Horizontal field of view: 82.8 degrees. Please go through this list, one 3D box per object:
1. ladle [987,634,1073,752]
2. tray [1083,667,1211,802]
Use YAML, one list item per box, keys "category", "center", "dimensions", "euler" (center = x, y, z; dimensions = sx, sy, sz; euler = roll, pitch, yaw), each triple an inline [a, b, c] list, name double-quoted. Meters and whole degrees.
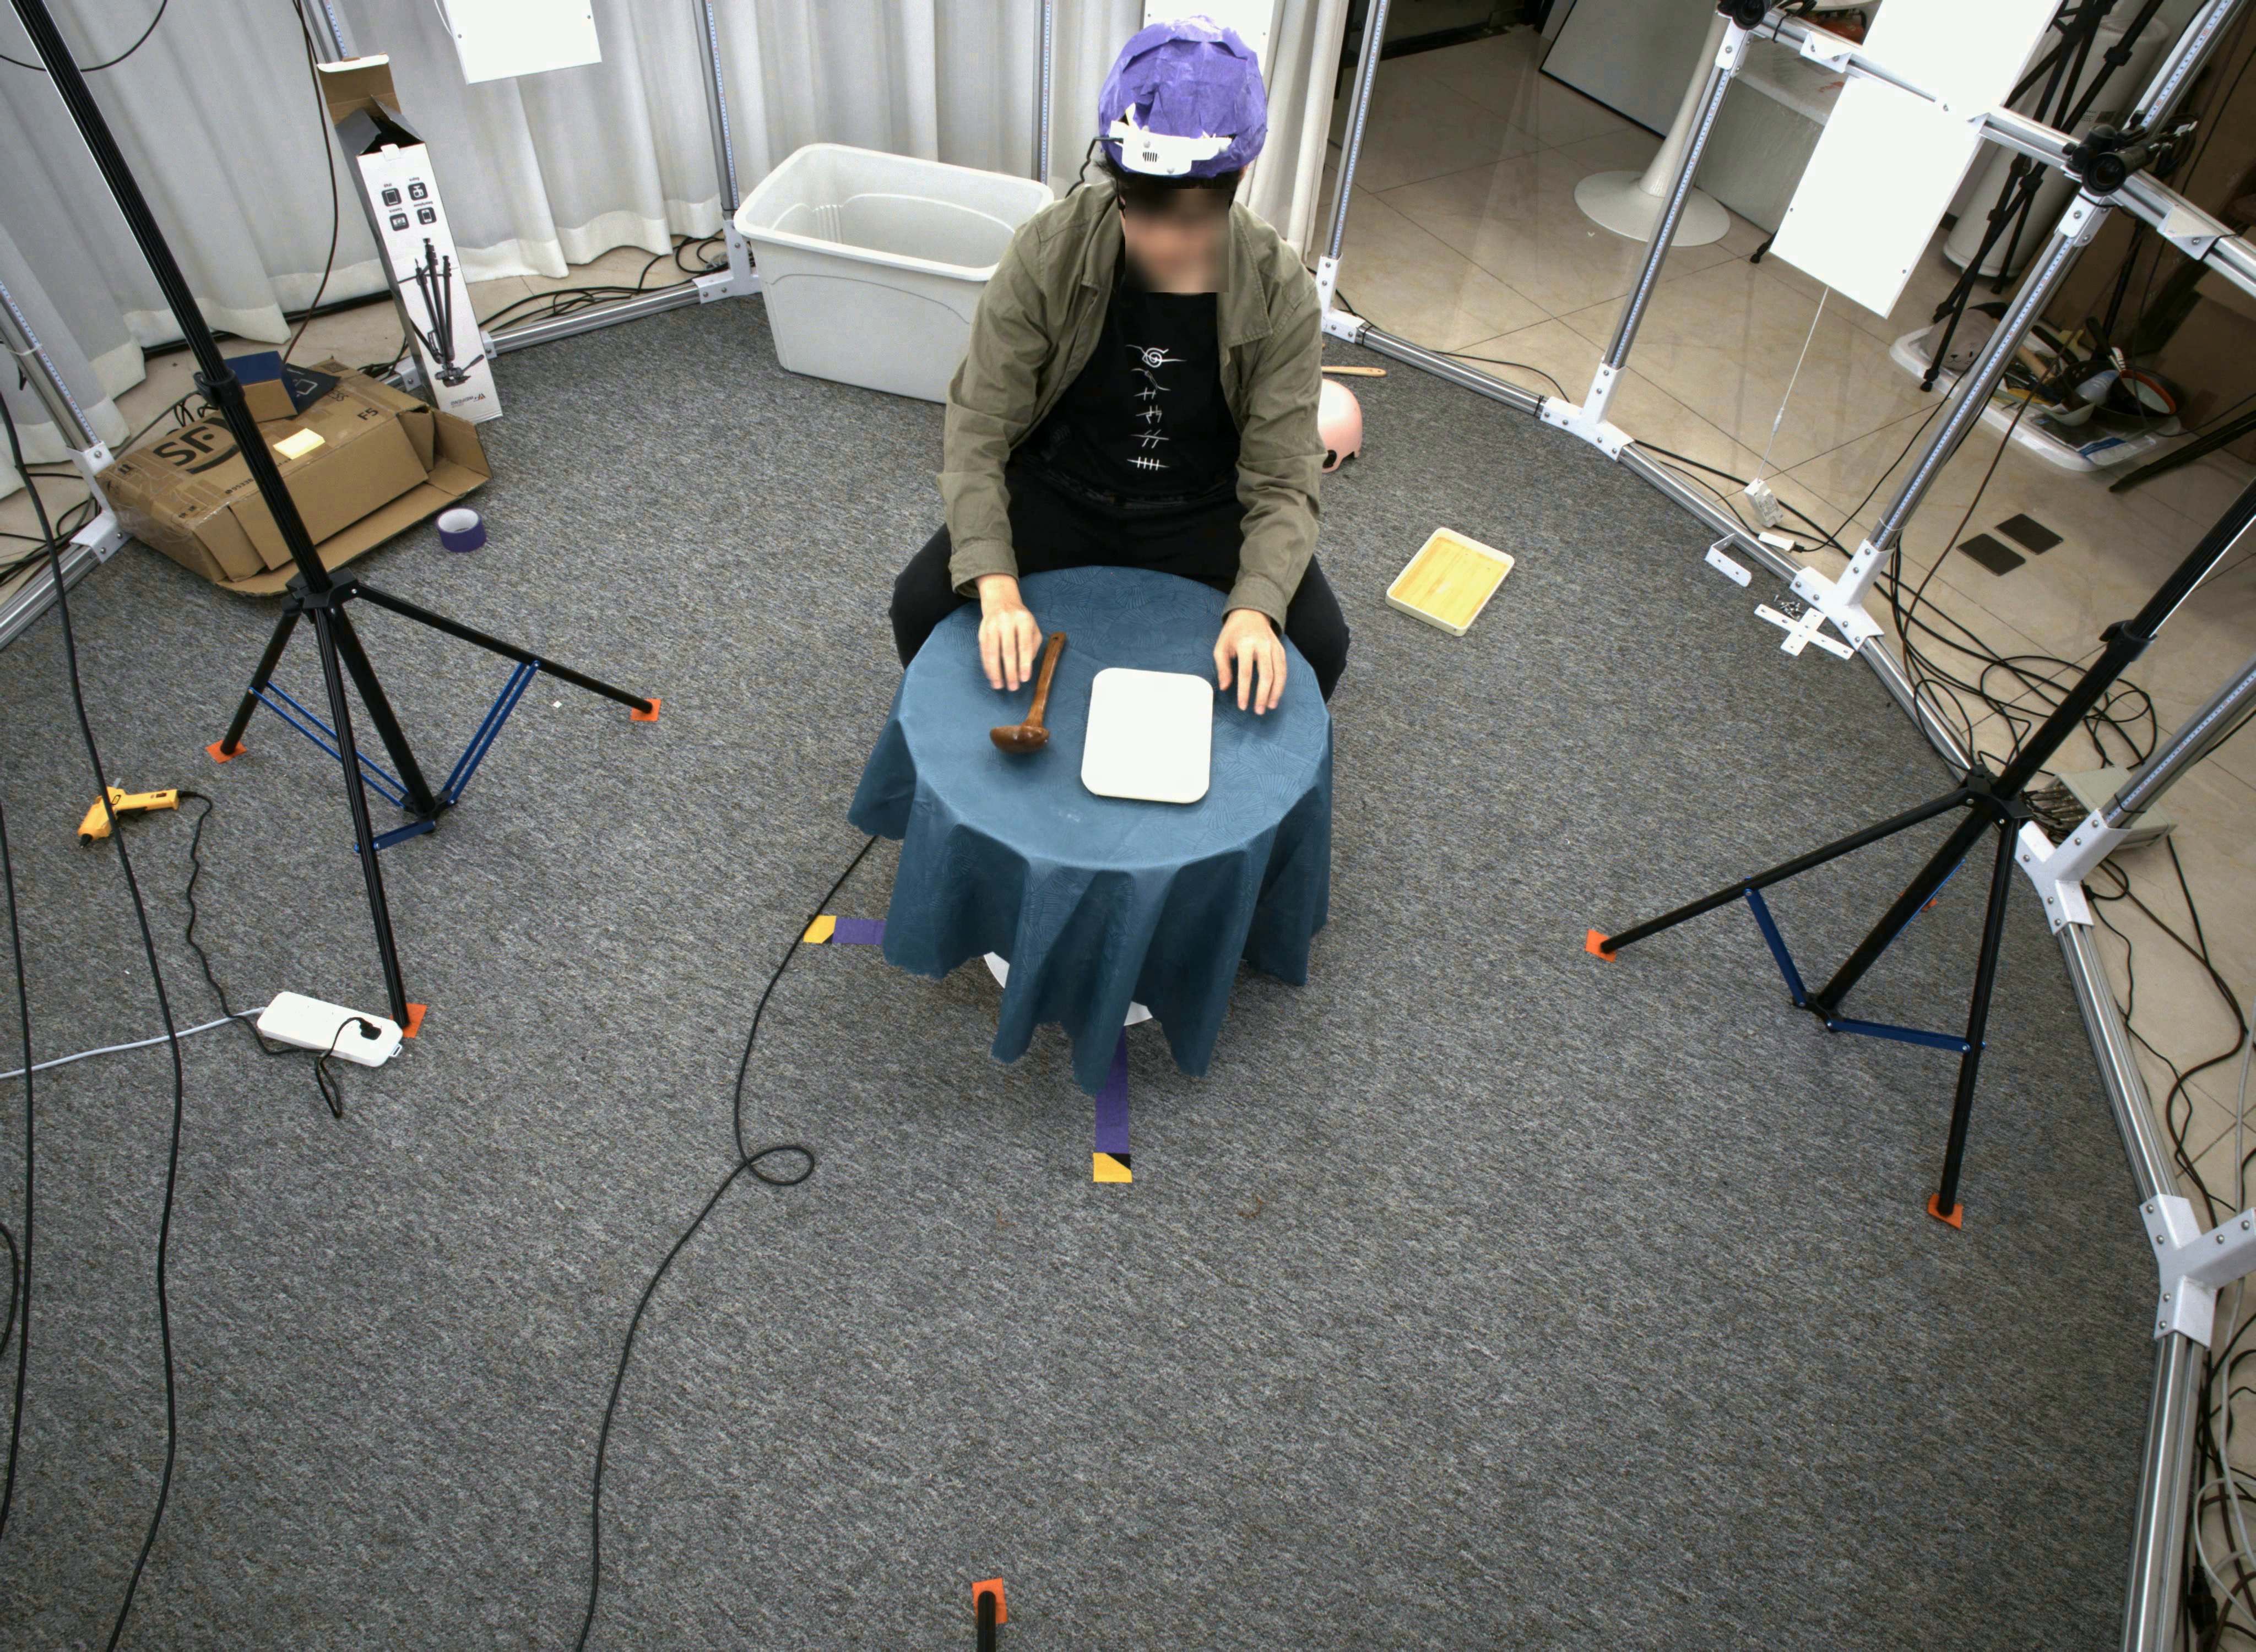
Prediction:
- category: "ladle"
  center: [-0.126, -0.200, 1.773]
  dimensions: [0.082, 0.075, 0.280]
  euler: [3, 47, 13]
- category: "tray"
  center: [0.029, -0.126, 1.759]
  dimensions: [0.171, 0.017, 0.245]
  euler: [6, 48, -1]
